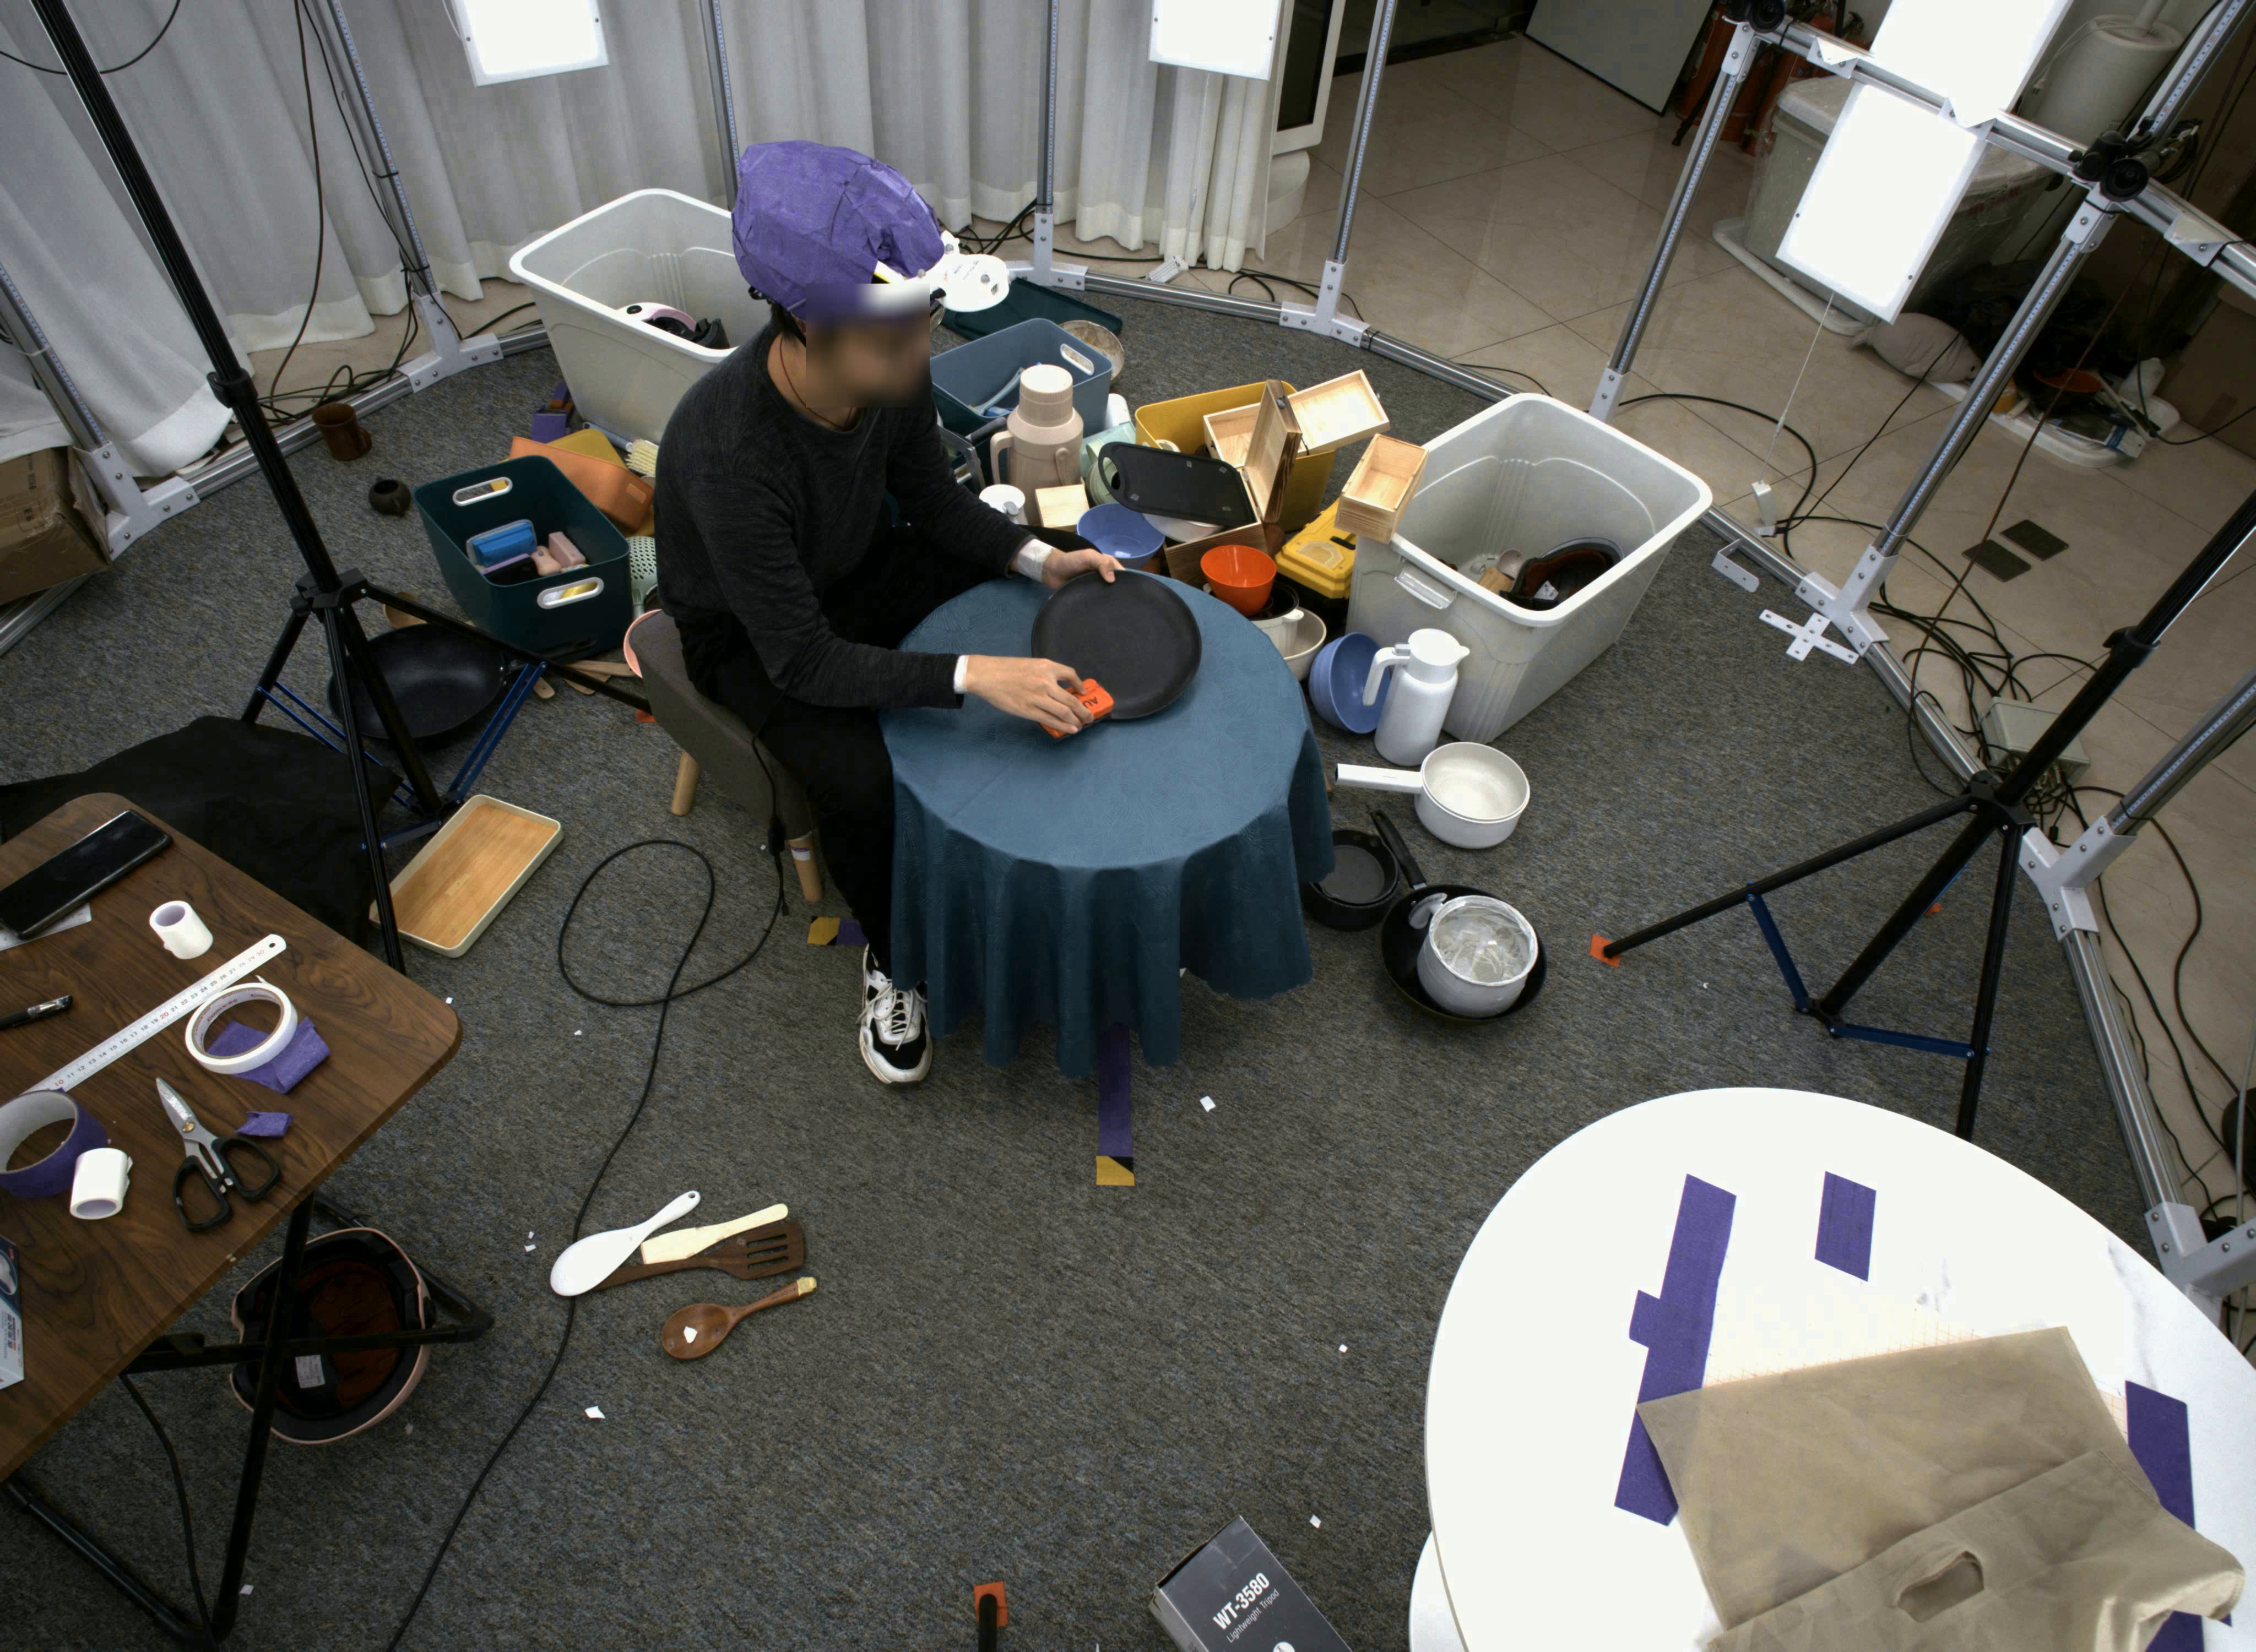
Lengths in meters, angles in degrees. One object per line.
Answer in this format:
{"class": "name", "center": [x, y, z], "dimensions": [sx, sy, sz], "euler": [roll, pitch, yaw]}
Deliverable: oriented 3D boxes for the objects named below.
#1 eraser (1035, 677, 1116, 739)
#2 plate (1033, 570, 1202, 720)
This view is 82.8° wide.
{"class": "eraser", "center": [-0.072, -0.164, 1.770], "dimensions": [0.108, 0.022, 0.060], "euler": [-29, 56, -26]}
{"class": "plate", "center": [-0.015, -0.259, 1.844], "dimensions": [0.244, 0.023, 0.249], "euler": [1, 66, -3]}
